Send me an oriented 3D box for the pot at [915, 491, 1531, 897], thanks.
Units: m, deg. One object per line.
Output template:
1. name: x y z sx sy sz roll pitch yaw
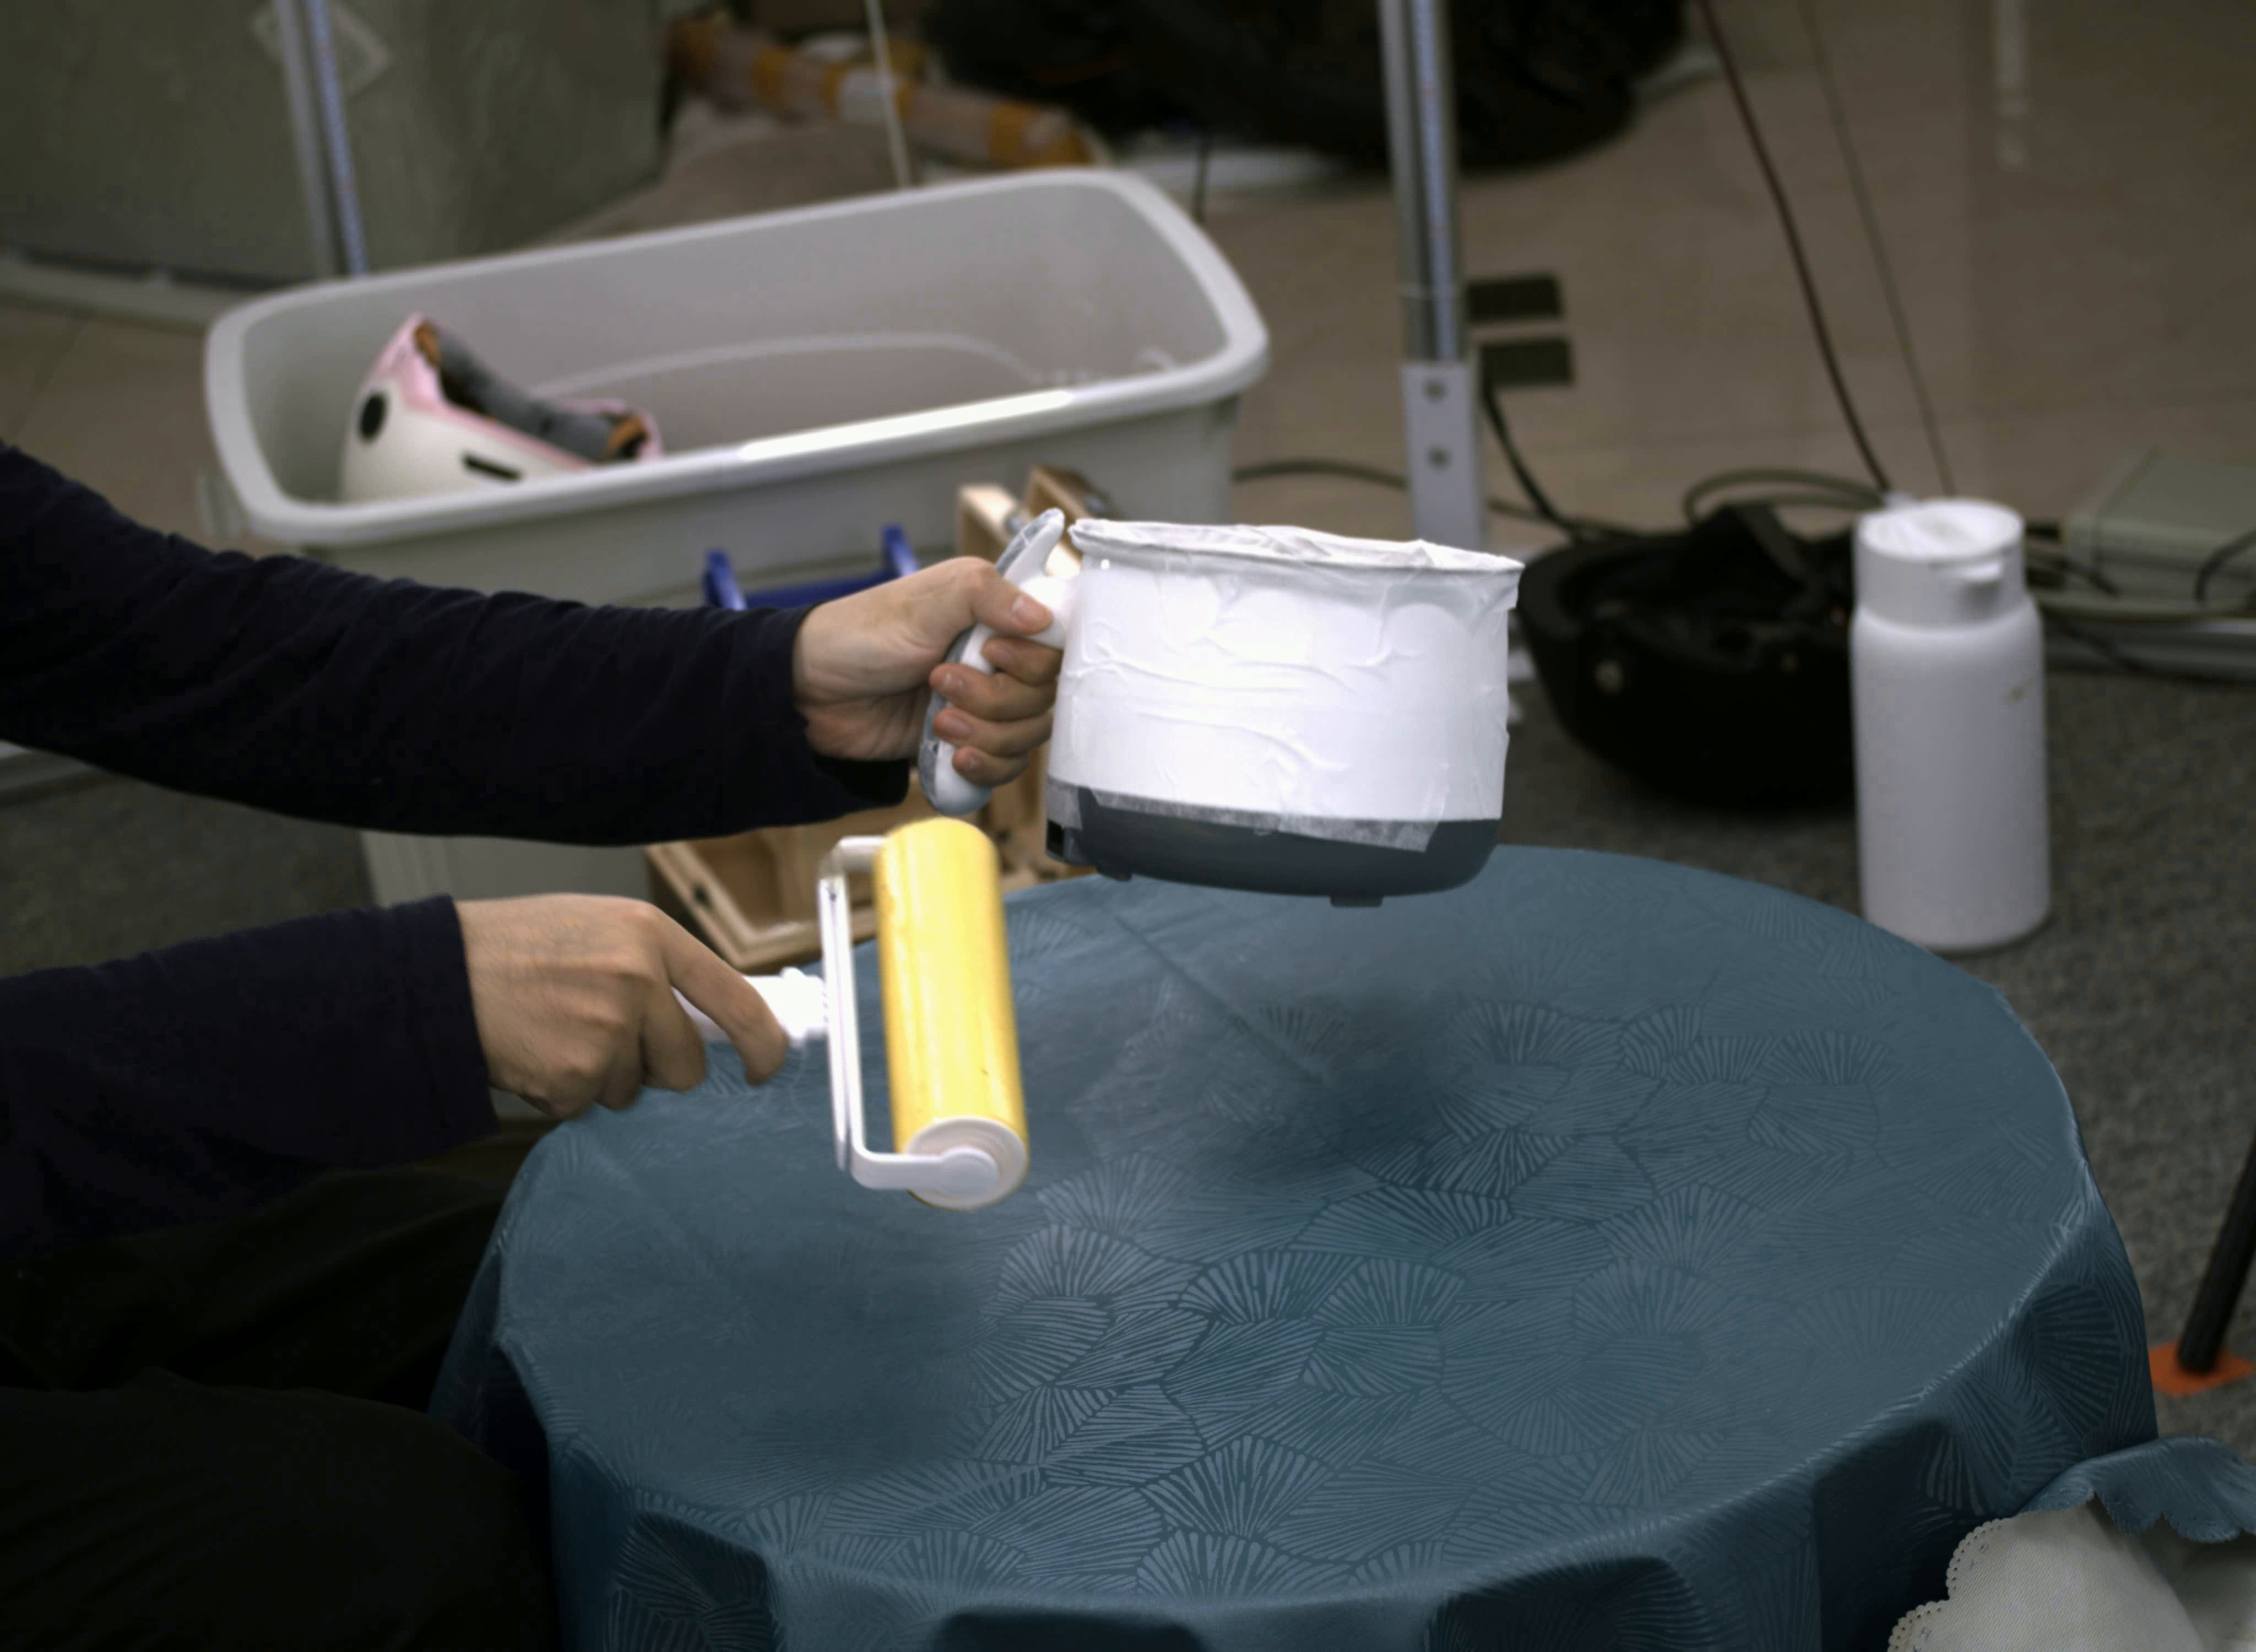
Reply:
1. pot: 0.033 -0.053 2.195 0.233 0.137 0.178 8 5 14

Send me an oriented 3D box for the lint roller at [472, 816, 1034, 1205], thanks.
1. lint roller: -0.136 0.059 2.023 0.192 0.052 0.171 6 40 -14
